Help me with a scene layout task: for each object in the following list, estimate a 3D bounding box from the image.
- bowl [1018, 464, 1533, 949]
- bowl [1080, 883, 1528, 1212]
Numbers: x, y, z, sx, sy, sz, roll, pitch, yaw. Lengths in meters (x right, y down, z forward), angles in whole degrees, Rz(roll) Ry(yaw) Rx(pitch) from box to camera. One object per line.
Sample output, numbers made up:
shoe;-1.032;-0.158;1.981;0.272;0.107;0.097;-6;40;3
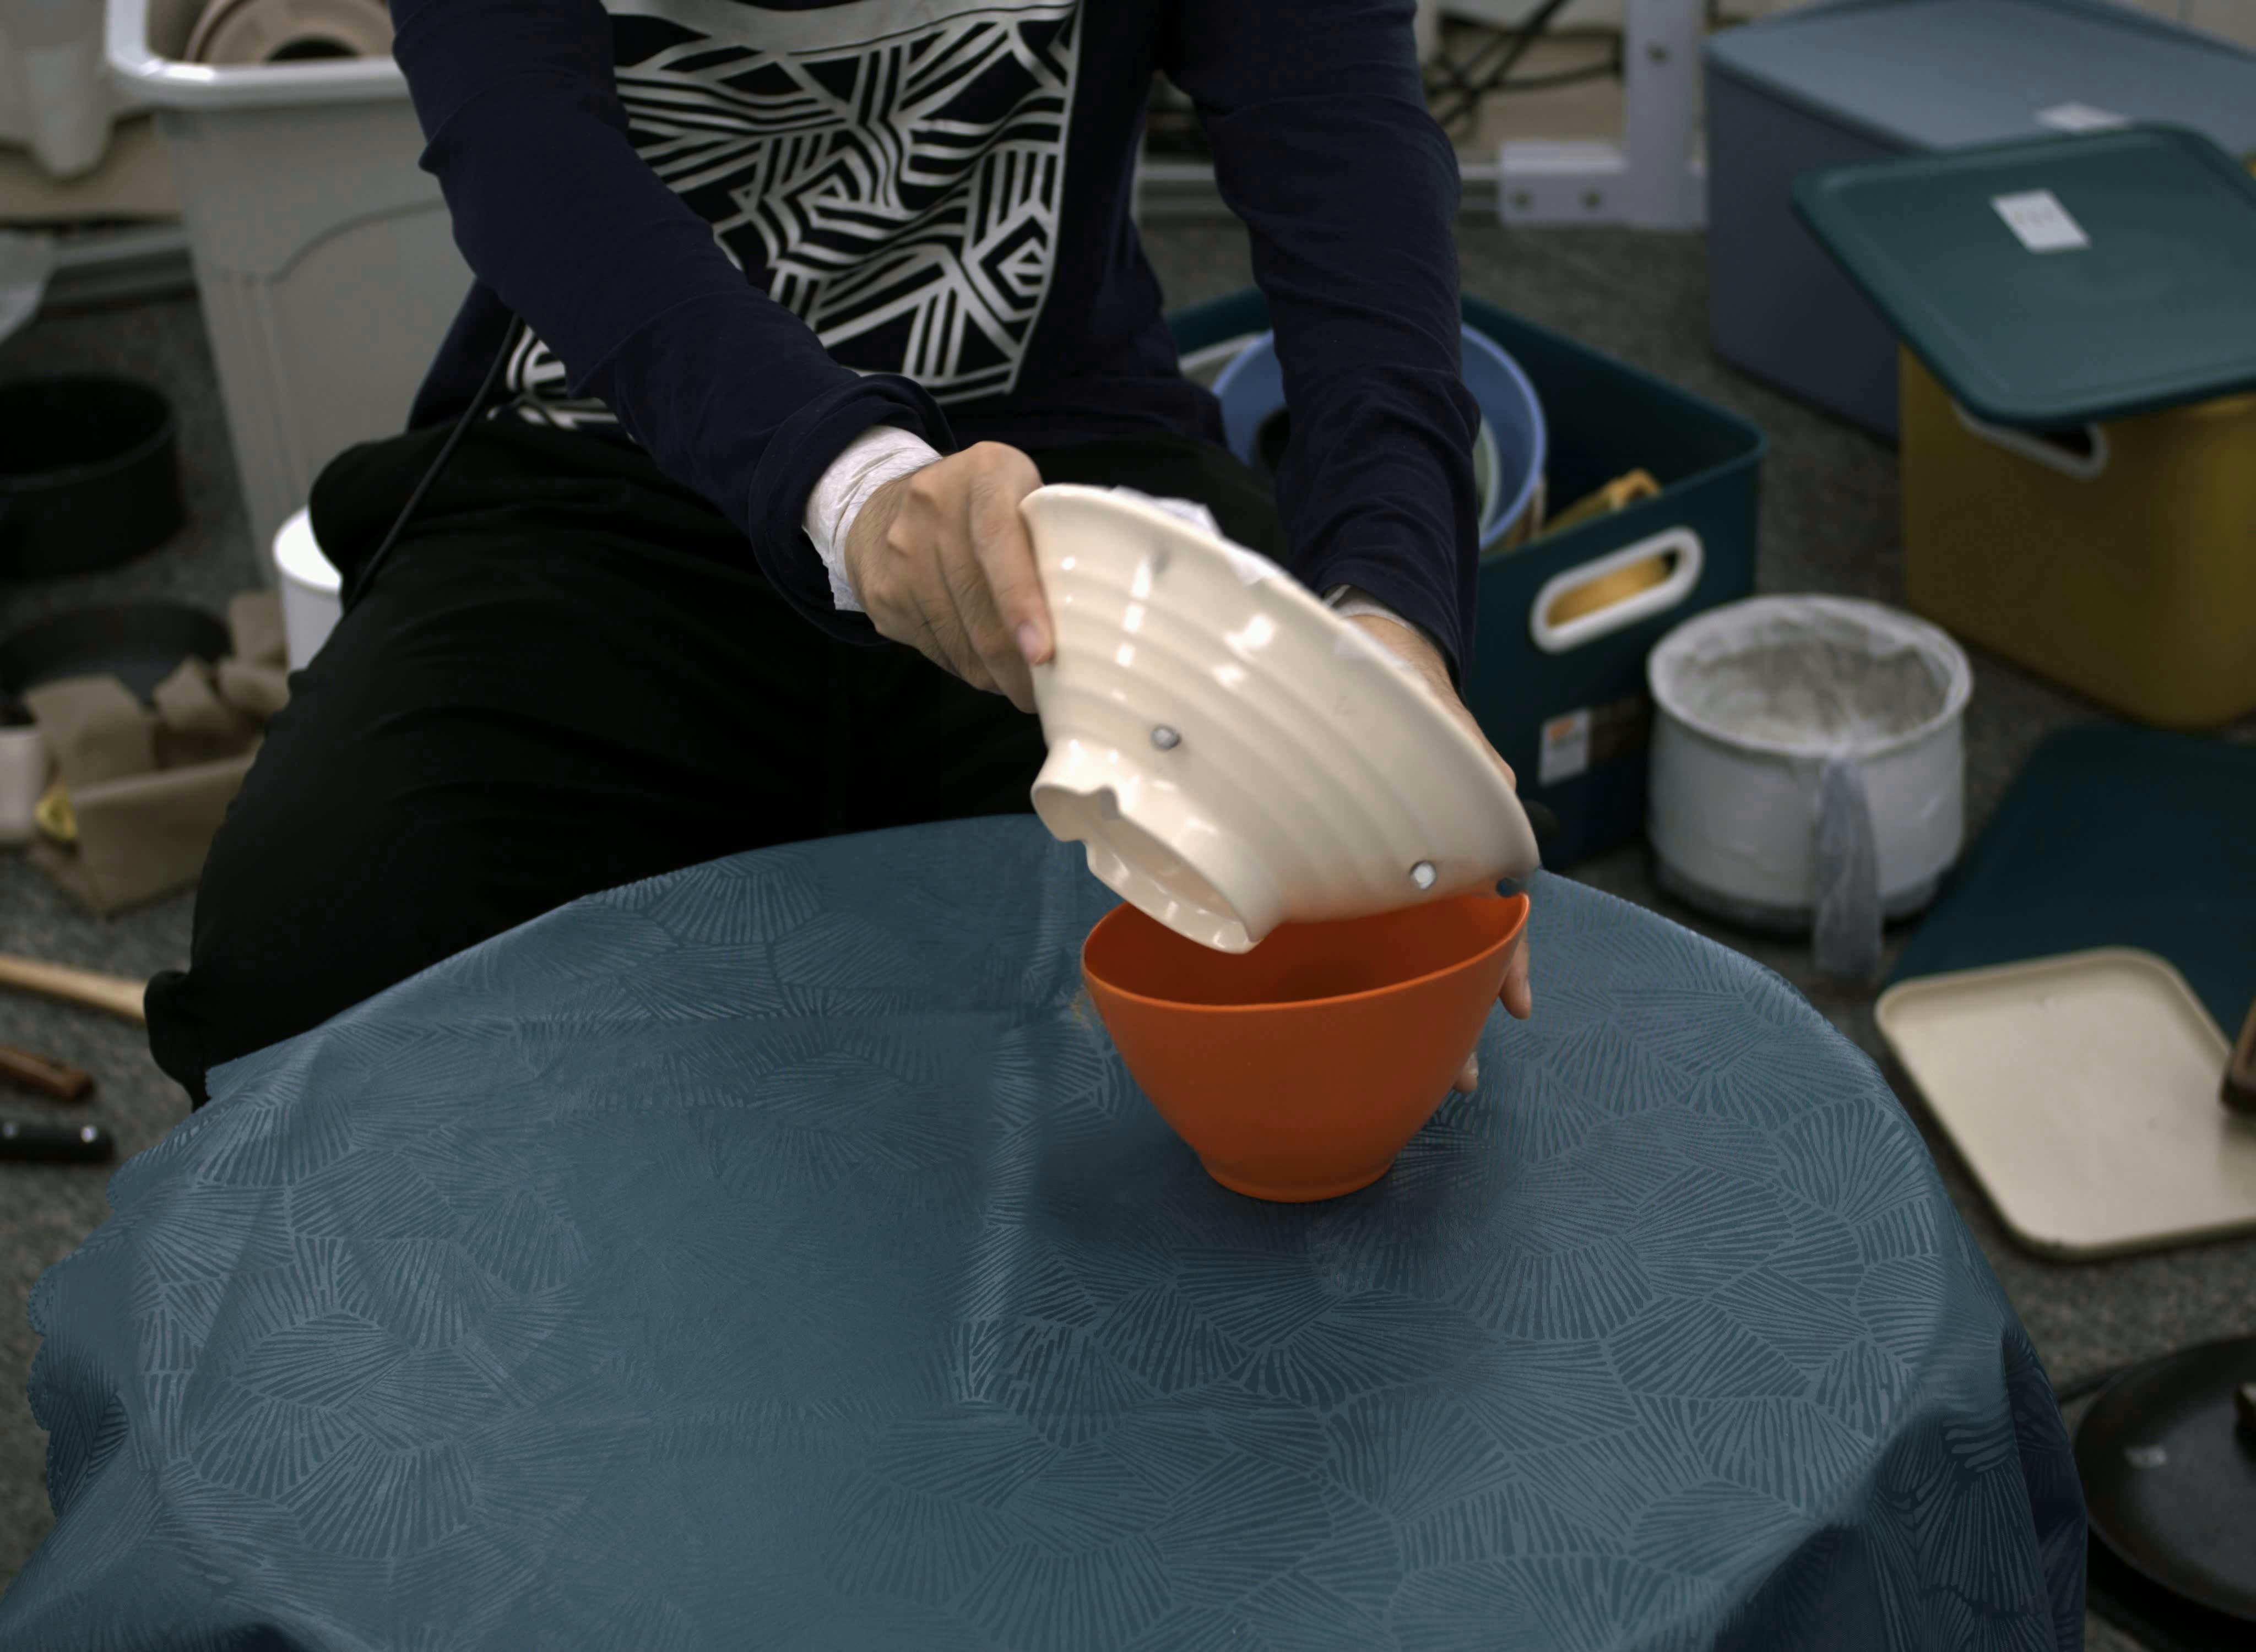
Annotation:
bowl;0.026;-0.018;1.795;0.203;0.202;0.079;22;65;39
bowl;0.059;0.071;1.848;0.147;0.103;0.150;-3;25;2
